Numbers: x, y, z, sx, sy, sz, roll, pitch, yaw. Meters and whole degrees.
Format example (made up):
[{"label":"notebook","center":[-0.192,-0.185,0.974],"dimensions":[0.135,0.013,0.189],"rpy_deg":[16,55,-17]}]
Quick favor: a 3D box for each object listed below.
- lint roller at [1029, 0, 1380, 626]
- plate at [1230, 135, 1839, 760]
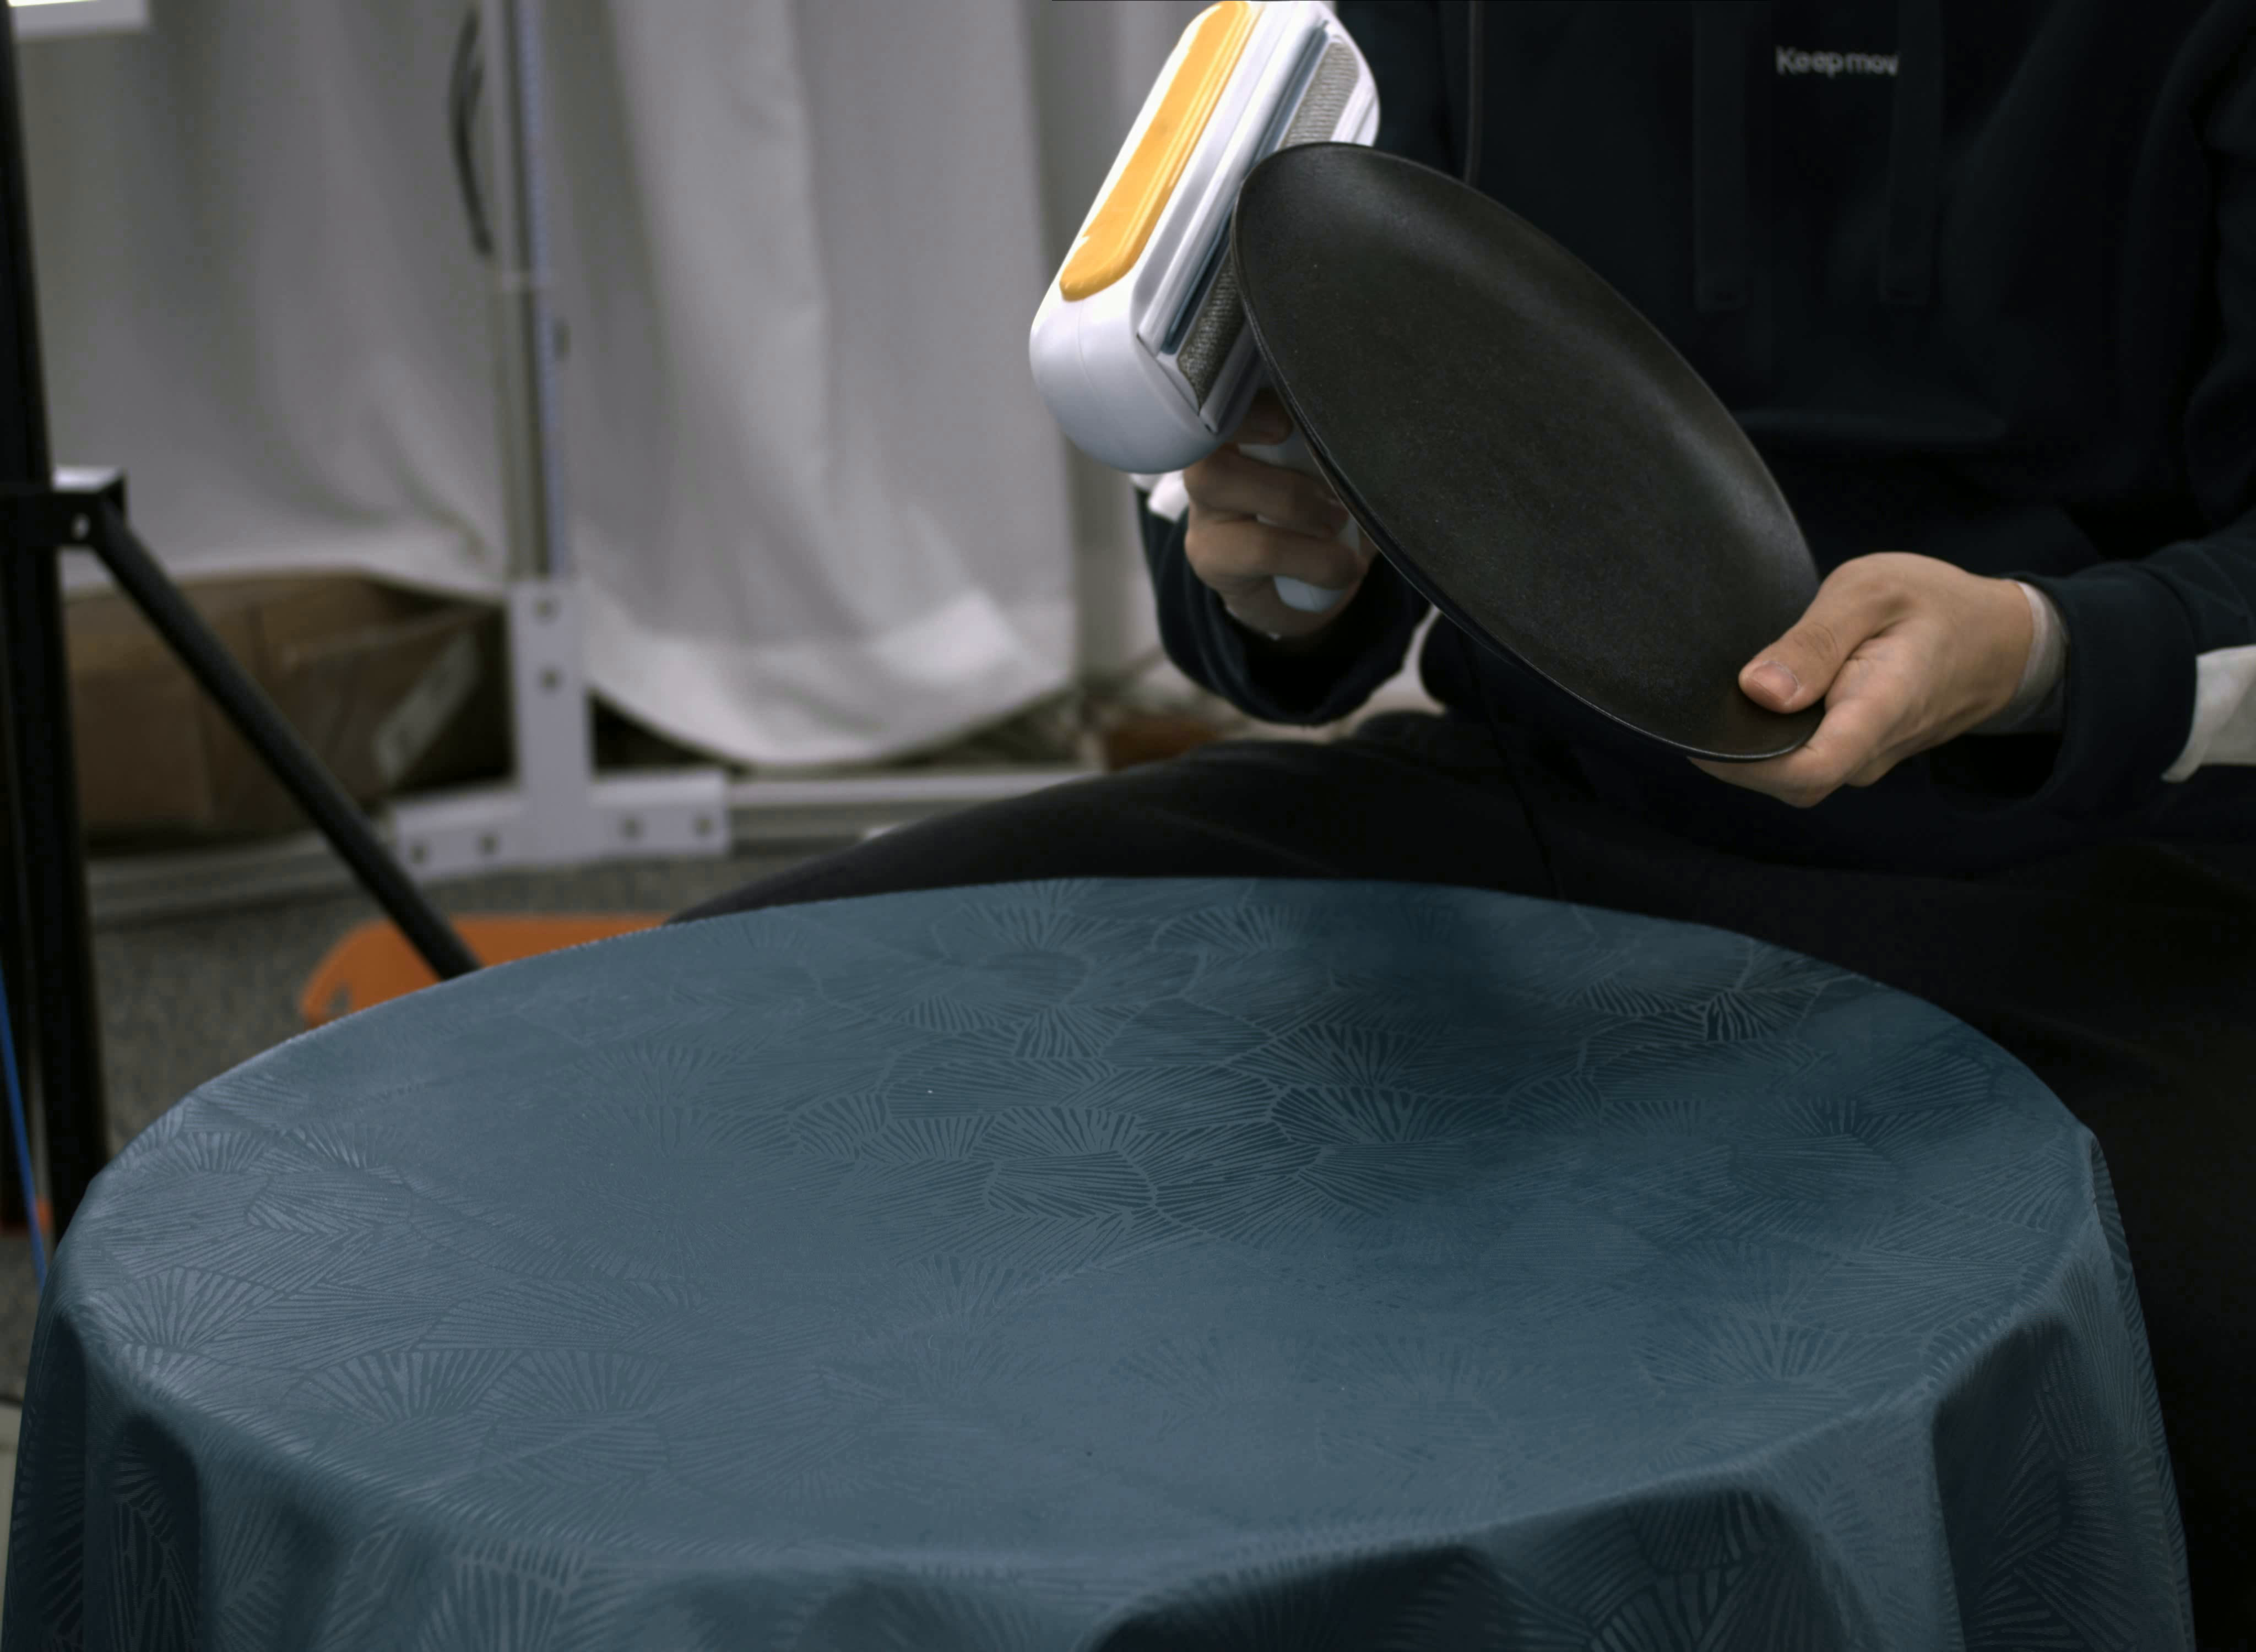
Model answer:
[{"label":"lint roller","center":[0.044,-0.147,1.701],"dimensions":[0.075,0.189,0.193],"rpy_deg":[-12,34,29]},{"label":"plate","center":[0.121,-0.112,1.626],"dimensions":[0.239,0.023,0.247],"rpy_deg":[29,34,-24]}]
